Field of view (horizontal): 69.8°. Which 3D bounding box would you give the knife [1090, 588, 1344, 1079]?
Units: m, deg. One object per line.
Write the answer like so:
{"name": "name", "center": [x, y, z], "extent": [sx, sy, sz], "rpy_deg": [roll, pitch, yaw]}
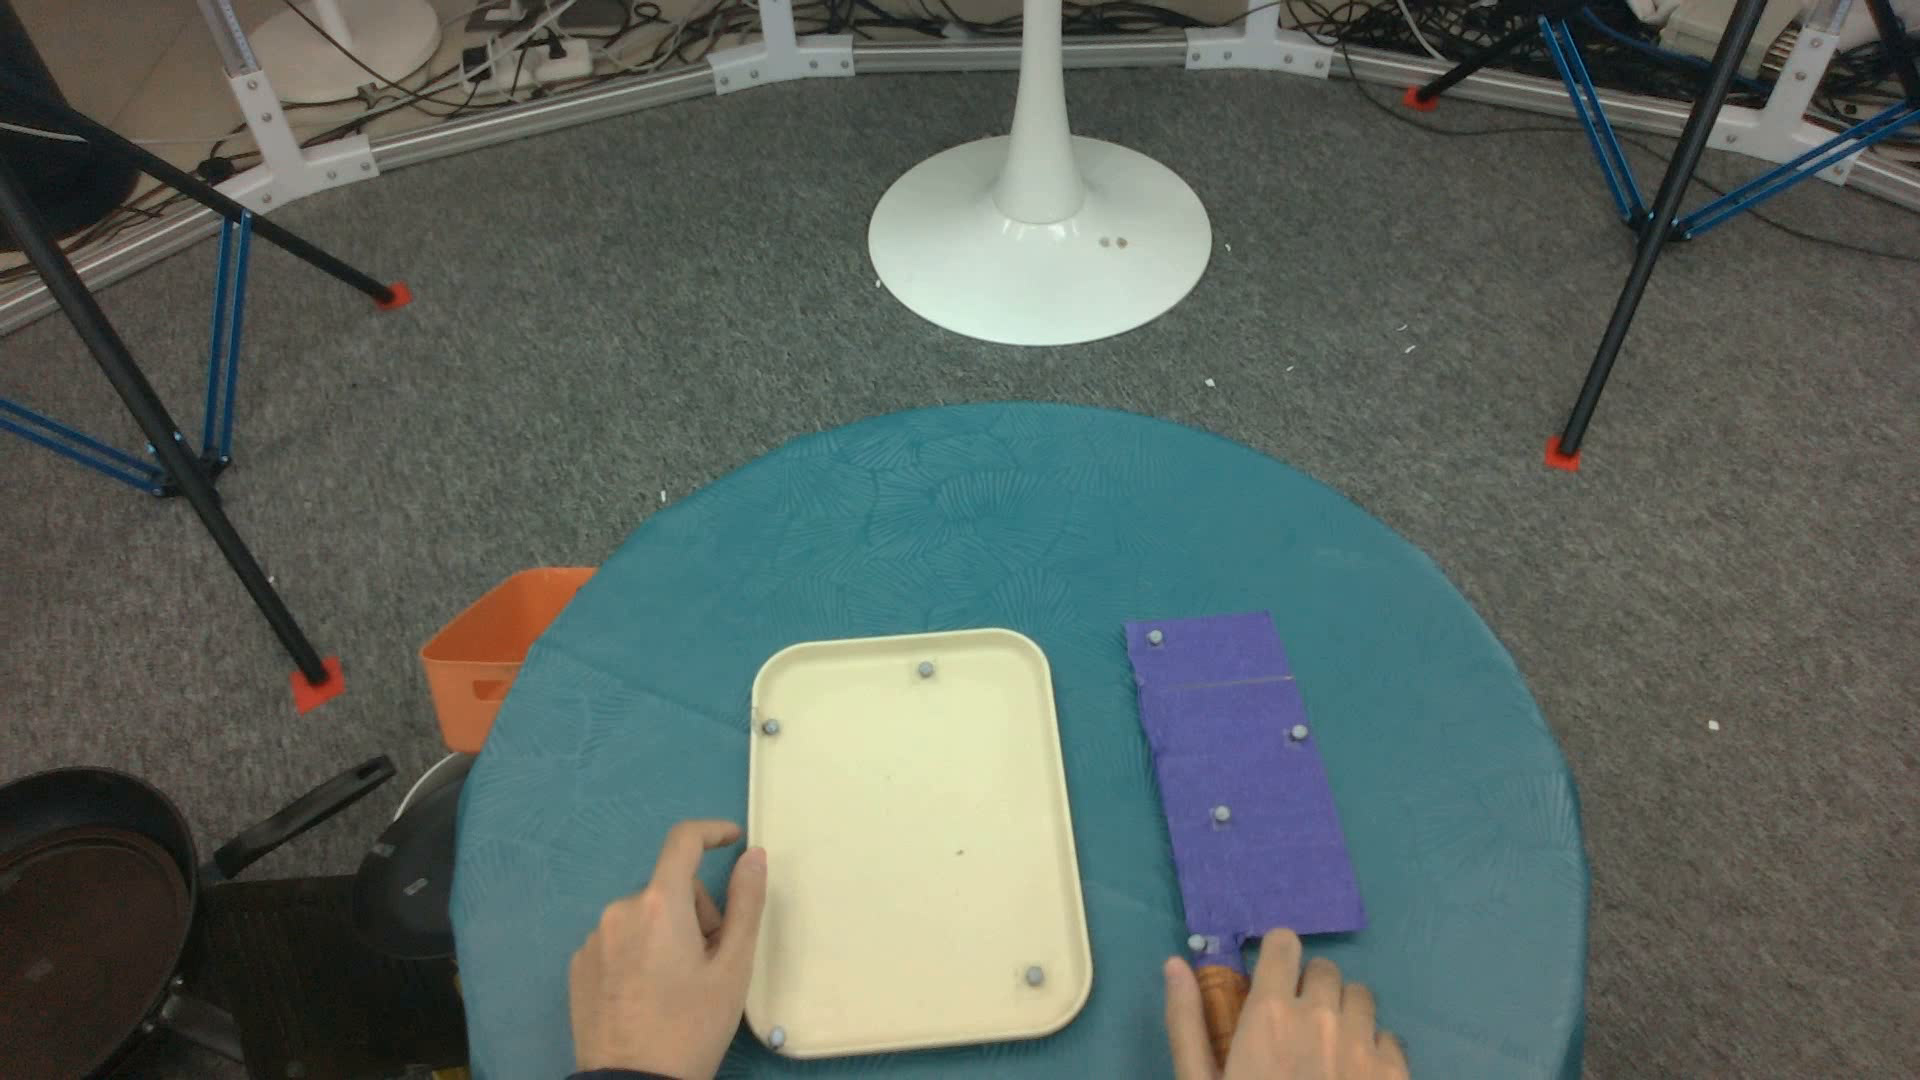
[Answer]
{"name": "knife", "center": [0.144, 0.146, 0.716], "extent": [0.104, 0.032, 0.316], "rpy_deg": [-5, 49, -3]}

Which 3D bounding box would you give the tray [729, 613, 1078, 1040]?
{"name": "tray", "center": [-0.035, 0.142, 0.728], "extent": [0.171, 0.017, 0.240], "rpy_deg": [-4, 50, -3]}
